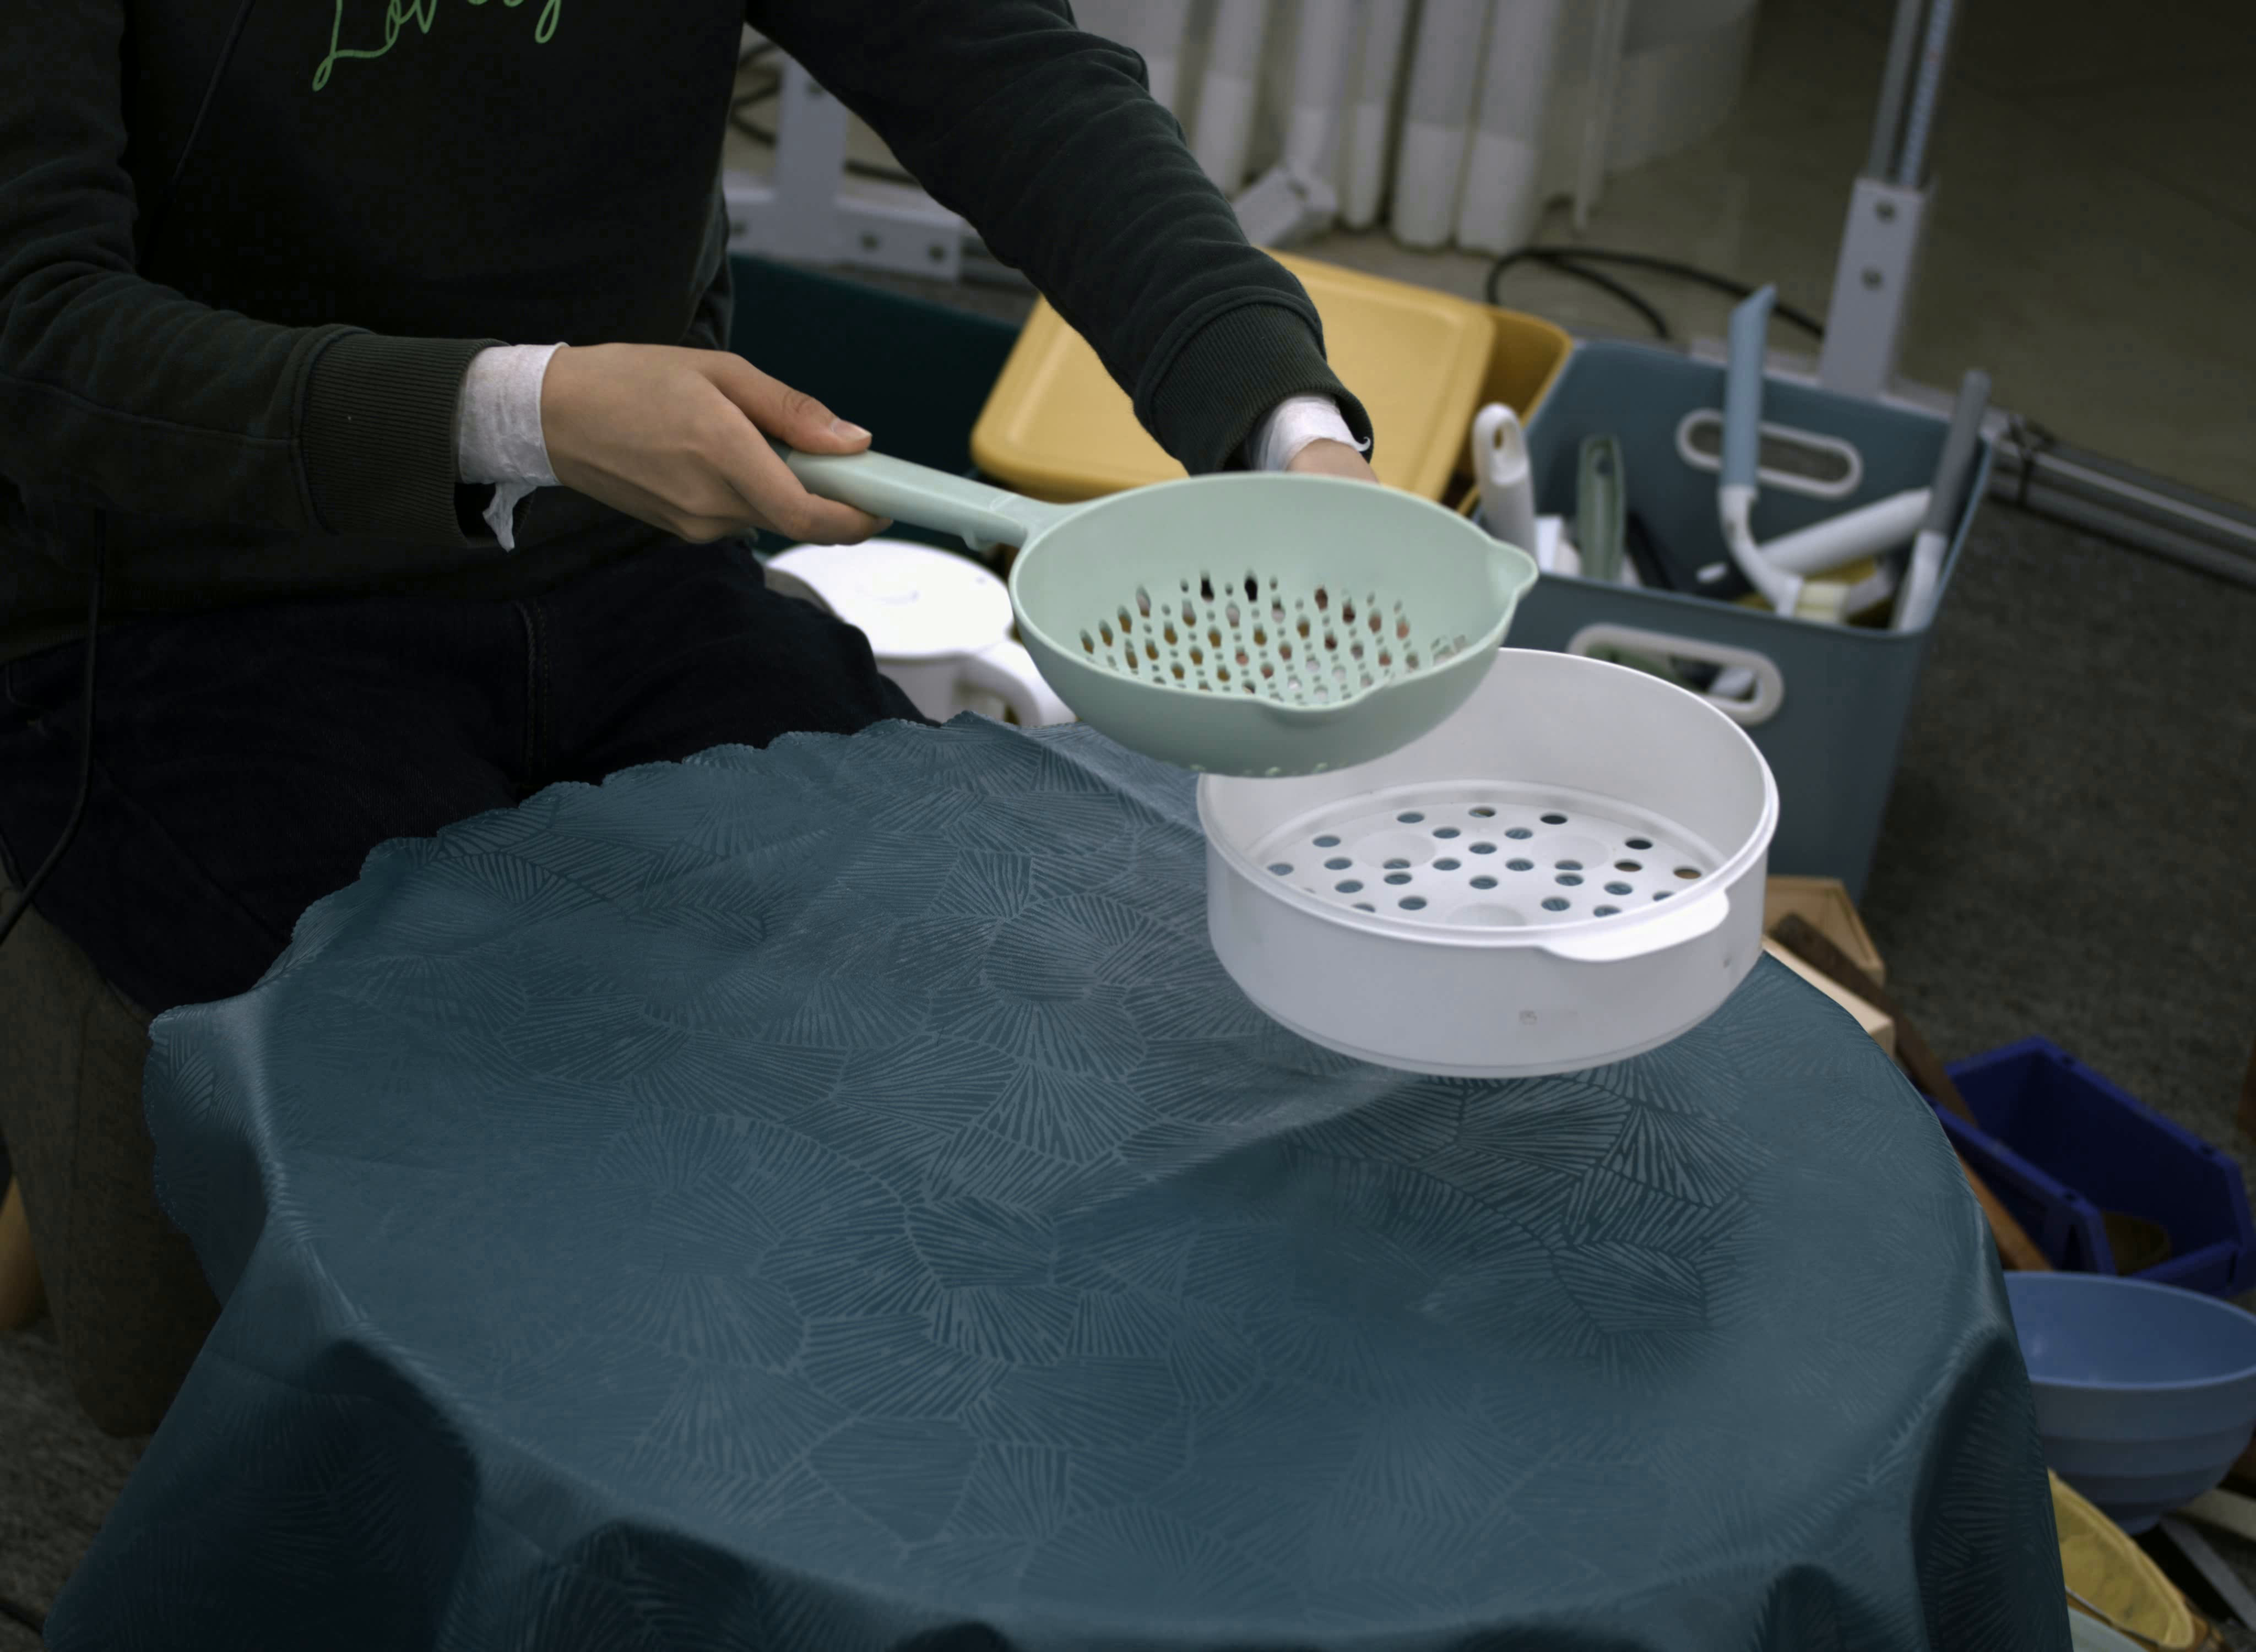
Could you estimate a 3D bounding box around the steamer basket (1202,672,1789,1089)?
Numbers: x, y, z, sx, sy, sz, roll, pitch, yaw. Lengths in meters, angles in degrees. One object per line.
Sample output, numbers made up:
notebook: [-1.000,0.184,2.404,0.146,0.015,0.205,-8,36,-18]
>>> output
steamer basket: [0.126,0.019,1.837,0.201,0.069,0.232,-14,31,-24]

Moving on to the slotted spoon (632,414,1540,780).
slotted spoon: [-0.032,-0.096,1.832,0.361,0.075,0.169,26,35,28]
